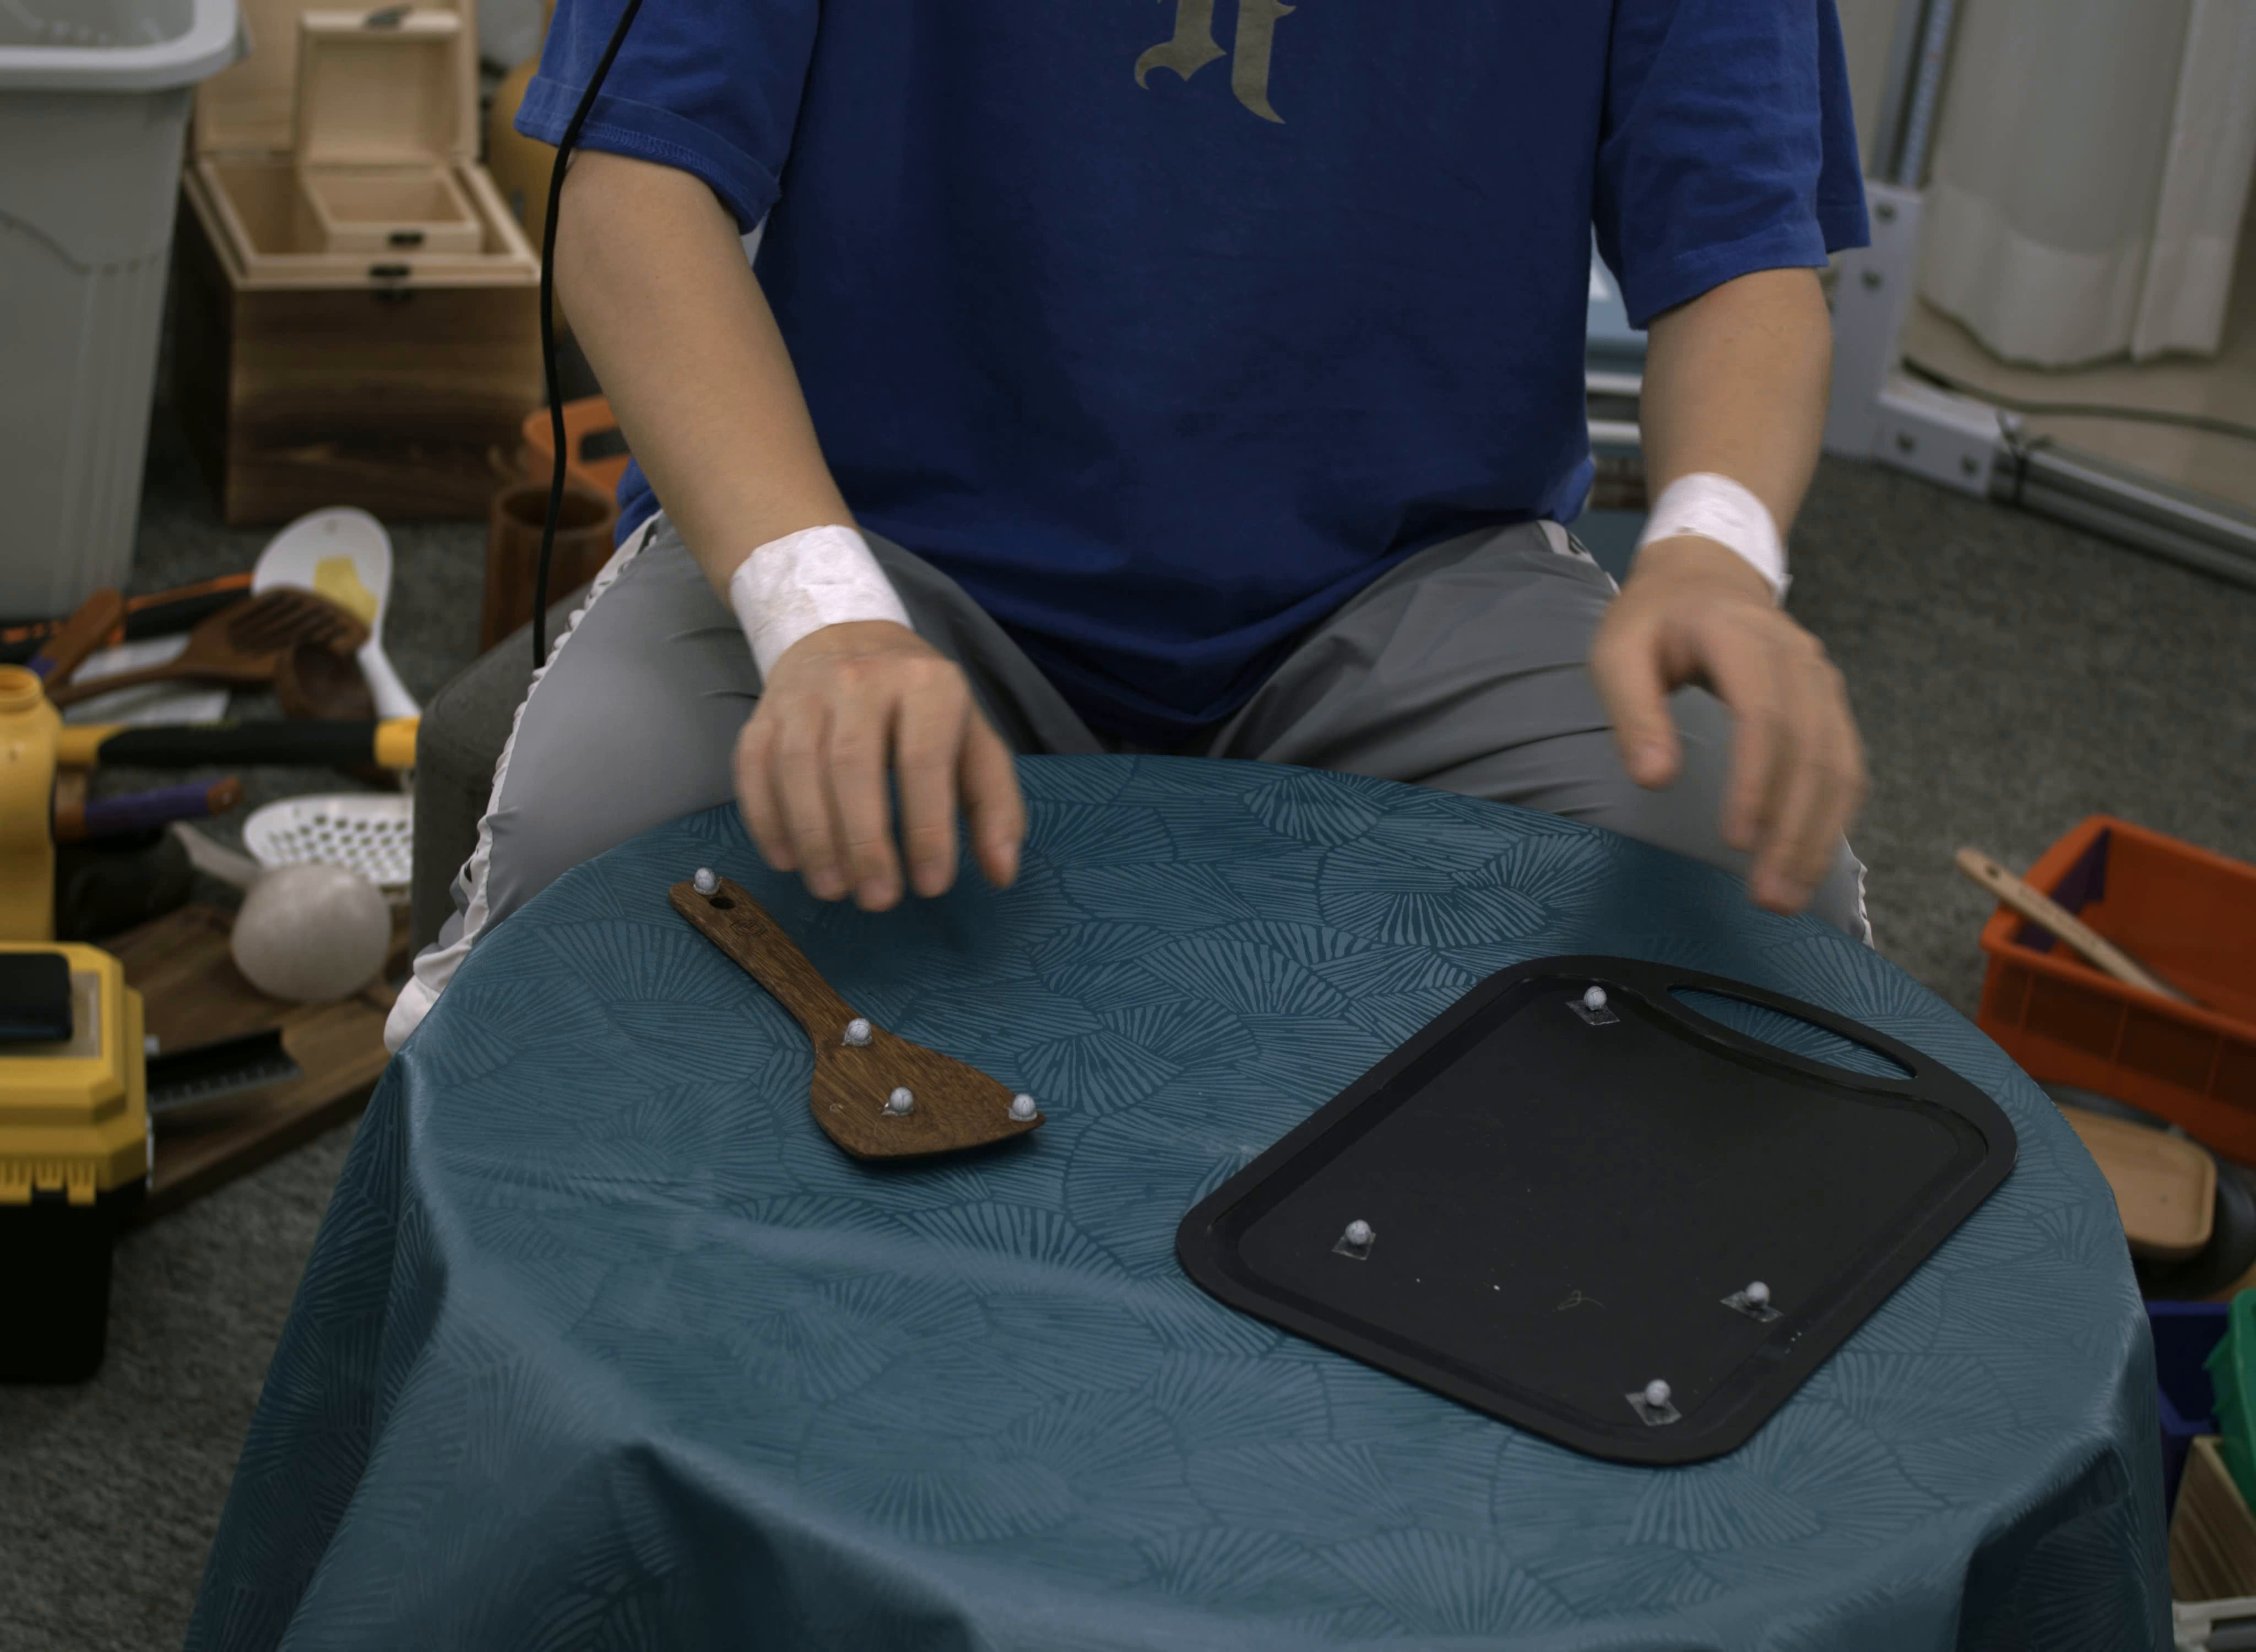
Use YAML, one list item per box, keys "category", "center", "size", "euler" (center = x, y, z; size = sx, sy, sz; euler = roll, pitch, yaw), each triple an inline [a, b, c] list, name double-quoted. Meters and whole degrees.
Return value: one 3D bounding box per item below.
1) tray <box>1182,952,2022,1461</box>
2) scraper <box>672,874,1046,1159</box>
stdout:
- category: "tray"
  center: [0.172, 0.120, 1.841]
  size: [0.212, 0.010, 0.324]
  euler: [21, 30, 26]
- category: "scraper"
  center: [-0.107, 0.066, 1.883]
  size: [0.075, 0.011, 0.213]
  euler: [-9, 30, -29]
